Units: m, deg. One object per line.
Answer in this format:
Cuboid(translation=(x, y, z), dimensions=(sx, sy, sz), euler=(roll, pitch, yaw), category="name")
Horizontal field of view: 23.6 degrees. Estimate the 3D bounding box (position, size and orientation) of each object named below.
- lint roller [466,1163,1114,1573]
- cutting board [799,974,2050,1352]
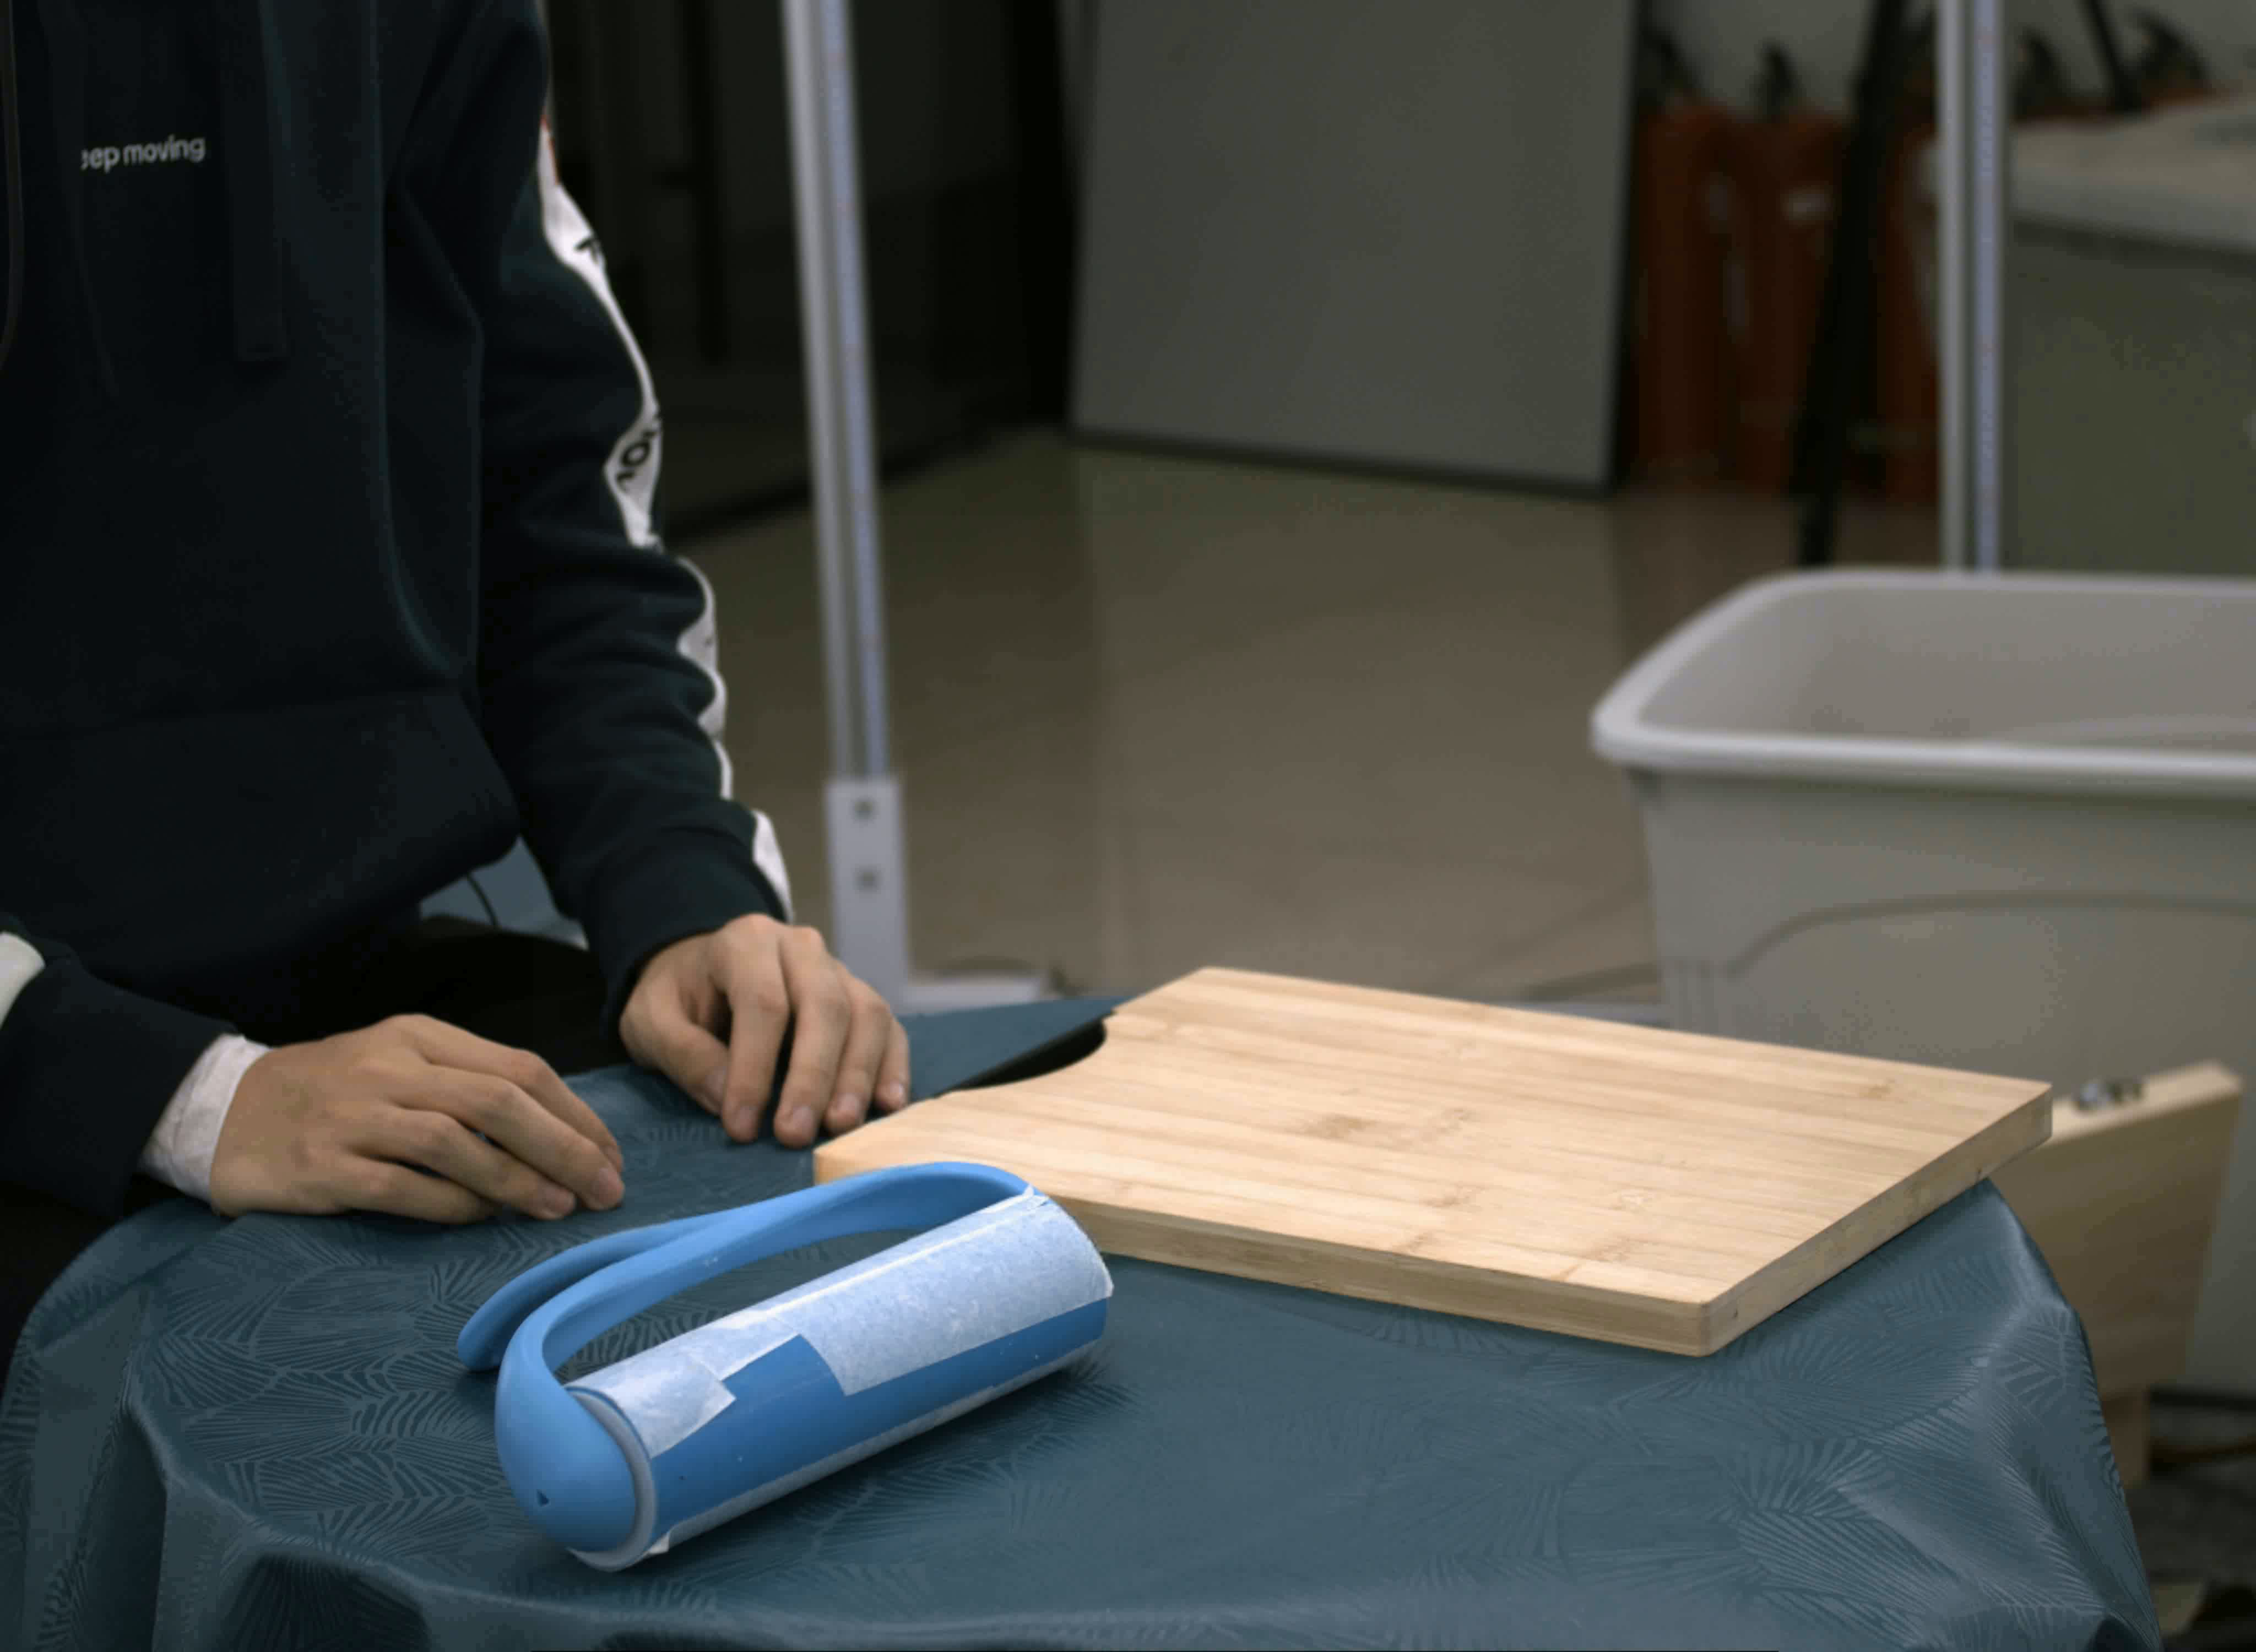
Cuboid(translation=(-0.130, 0.149, 1.577), dimensions=(0.181, 0.068, 0.225), euler=(7, 19, 38), category="lint roller")
Cuboid(translation=(0.097, 0.105, 1.773), dimensions=(0.351, 0.024, 0.246), euler=(6, 17, 35), category="cutting board")
